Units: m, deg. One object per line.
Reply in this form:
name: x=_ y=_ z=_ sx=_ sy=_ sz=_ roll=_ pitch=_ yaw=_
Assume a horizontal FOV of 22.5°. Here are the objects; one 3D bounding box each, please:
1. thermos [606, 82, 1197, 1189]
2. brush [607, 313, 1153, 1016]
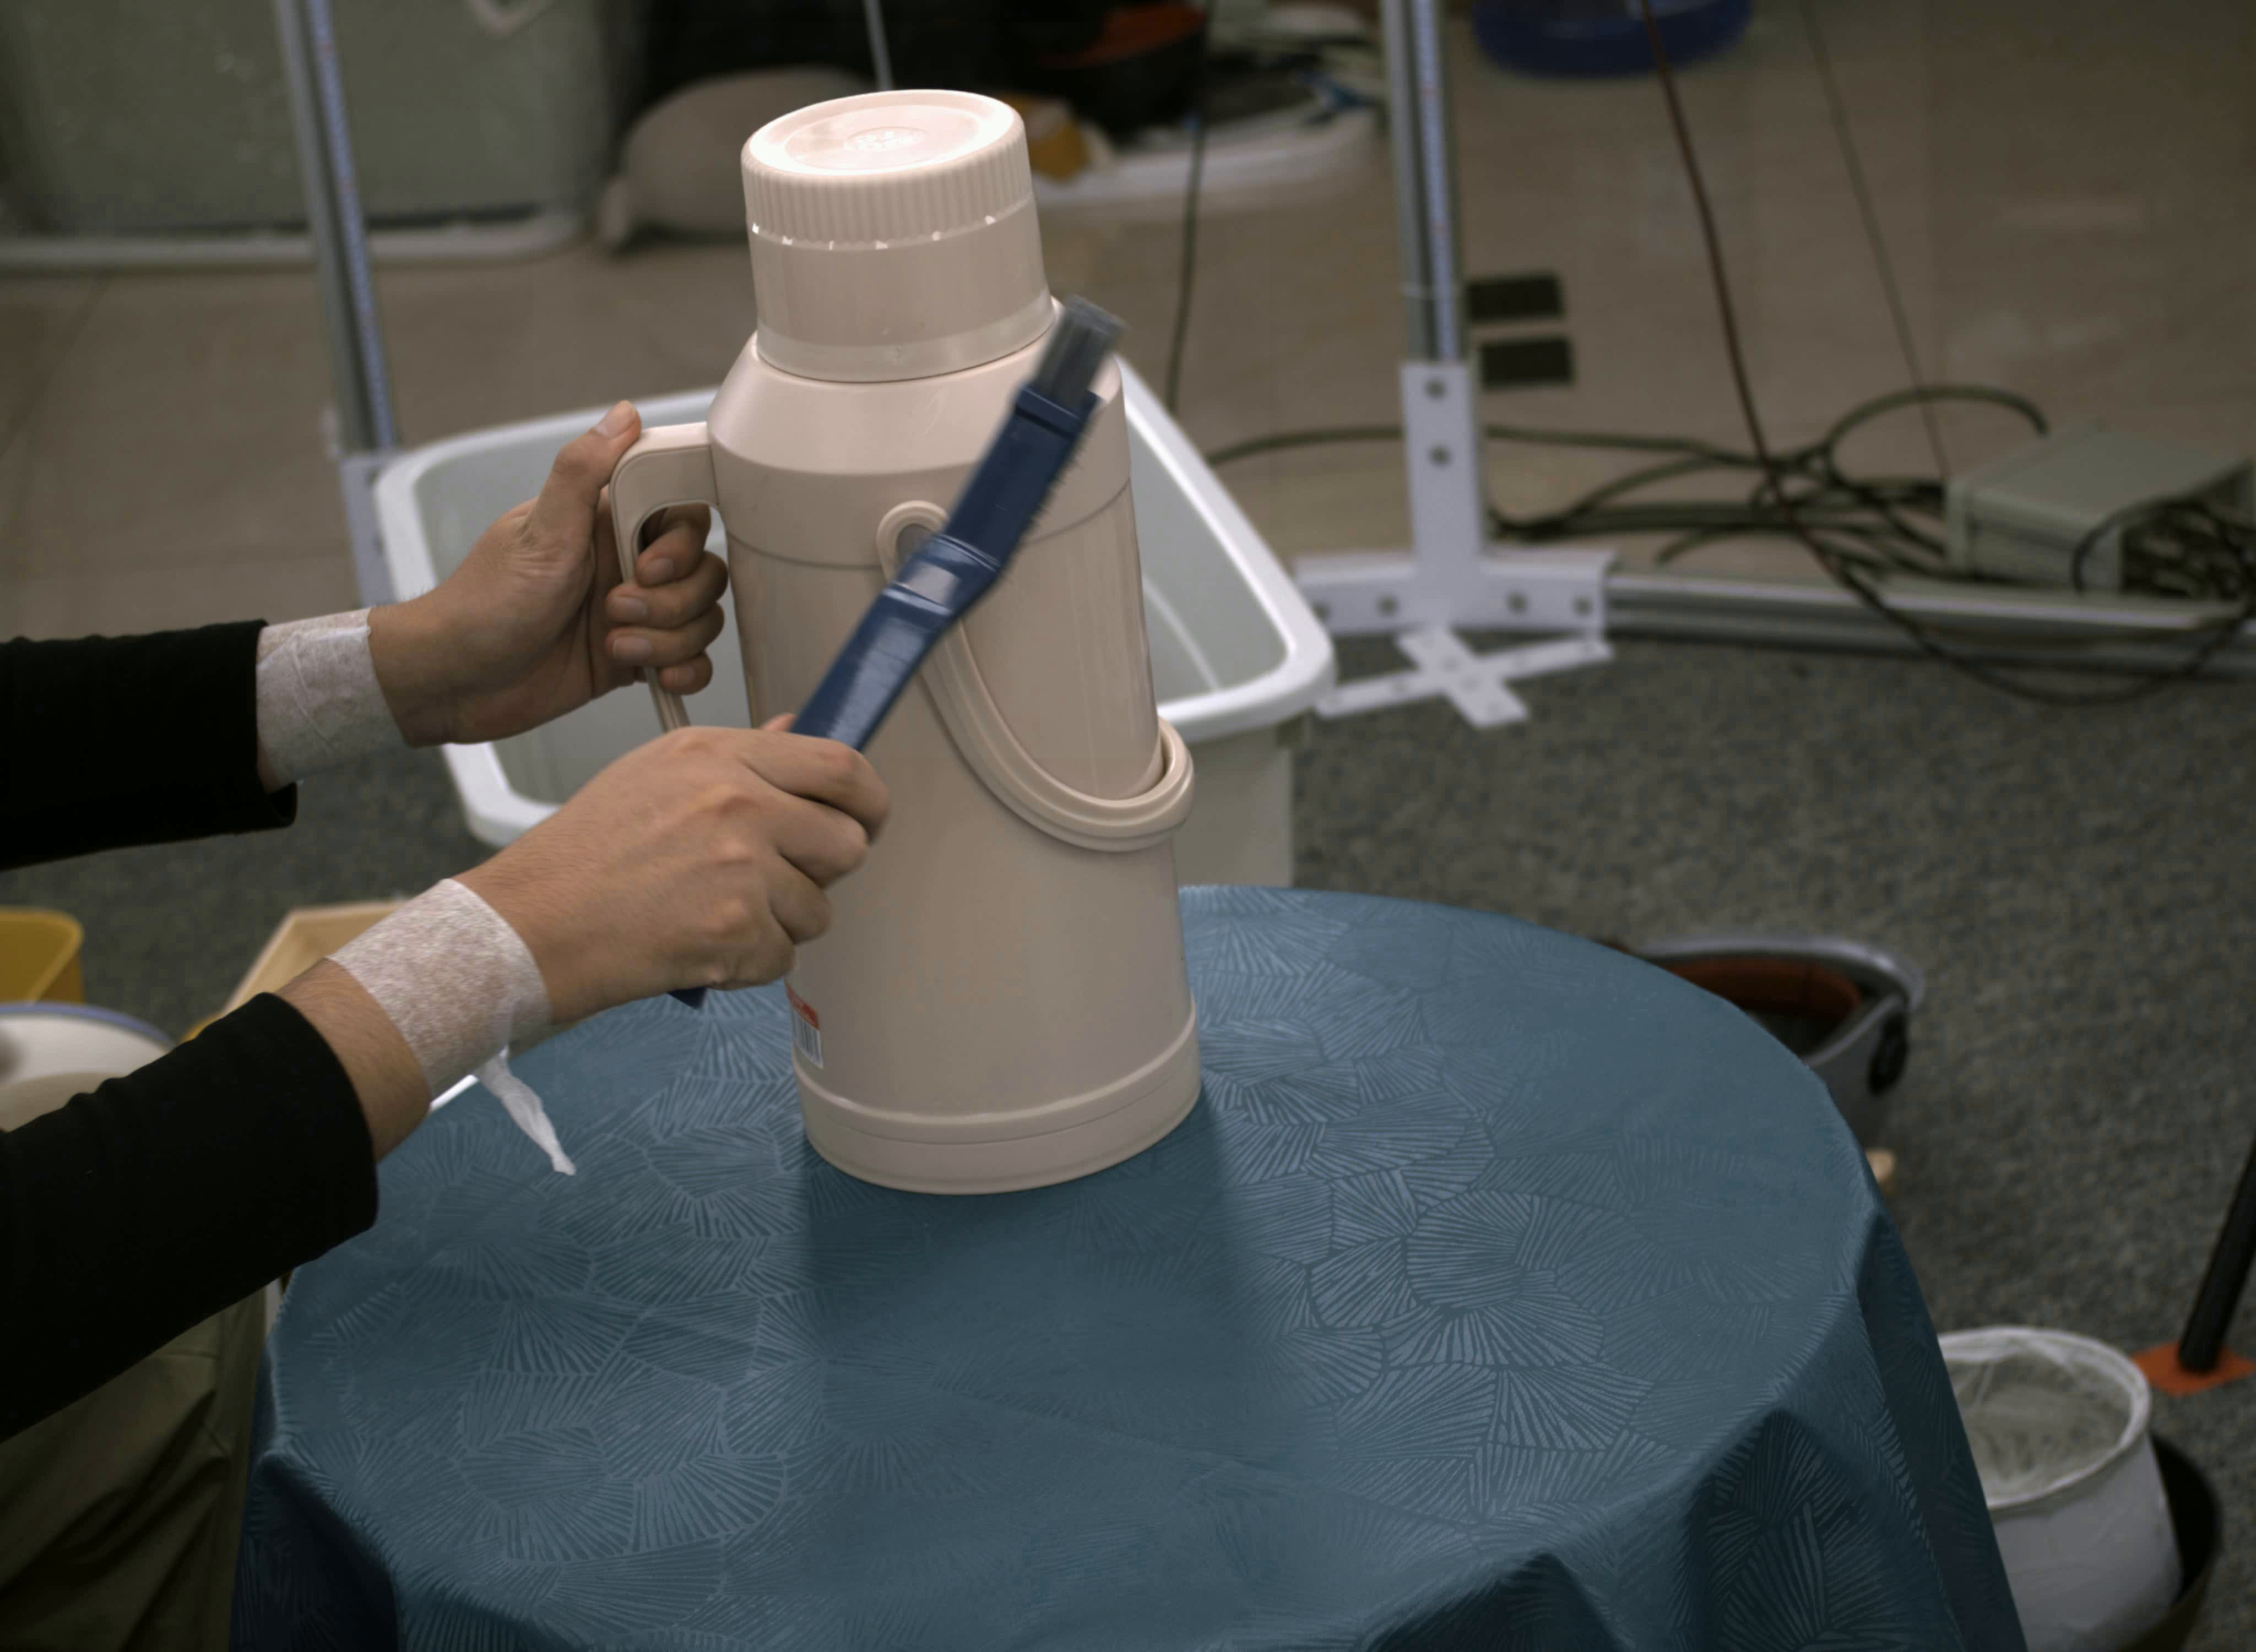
thermos: x=-0.085 y=-0.072 z=2.143 sx=0.207 sy=0.413 sz=0.172 roll=-6 pitch=27 yaw=1
brush: x=-0.081 y=-0.055 z=1.898 sx=0.033 sy=0.097 sz=0.270 roll=33 pitch=65 yaw=11
